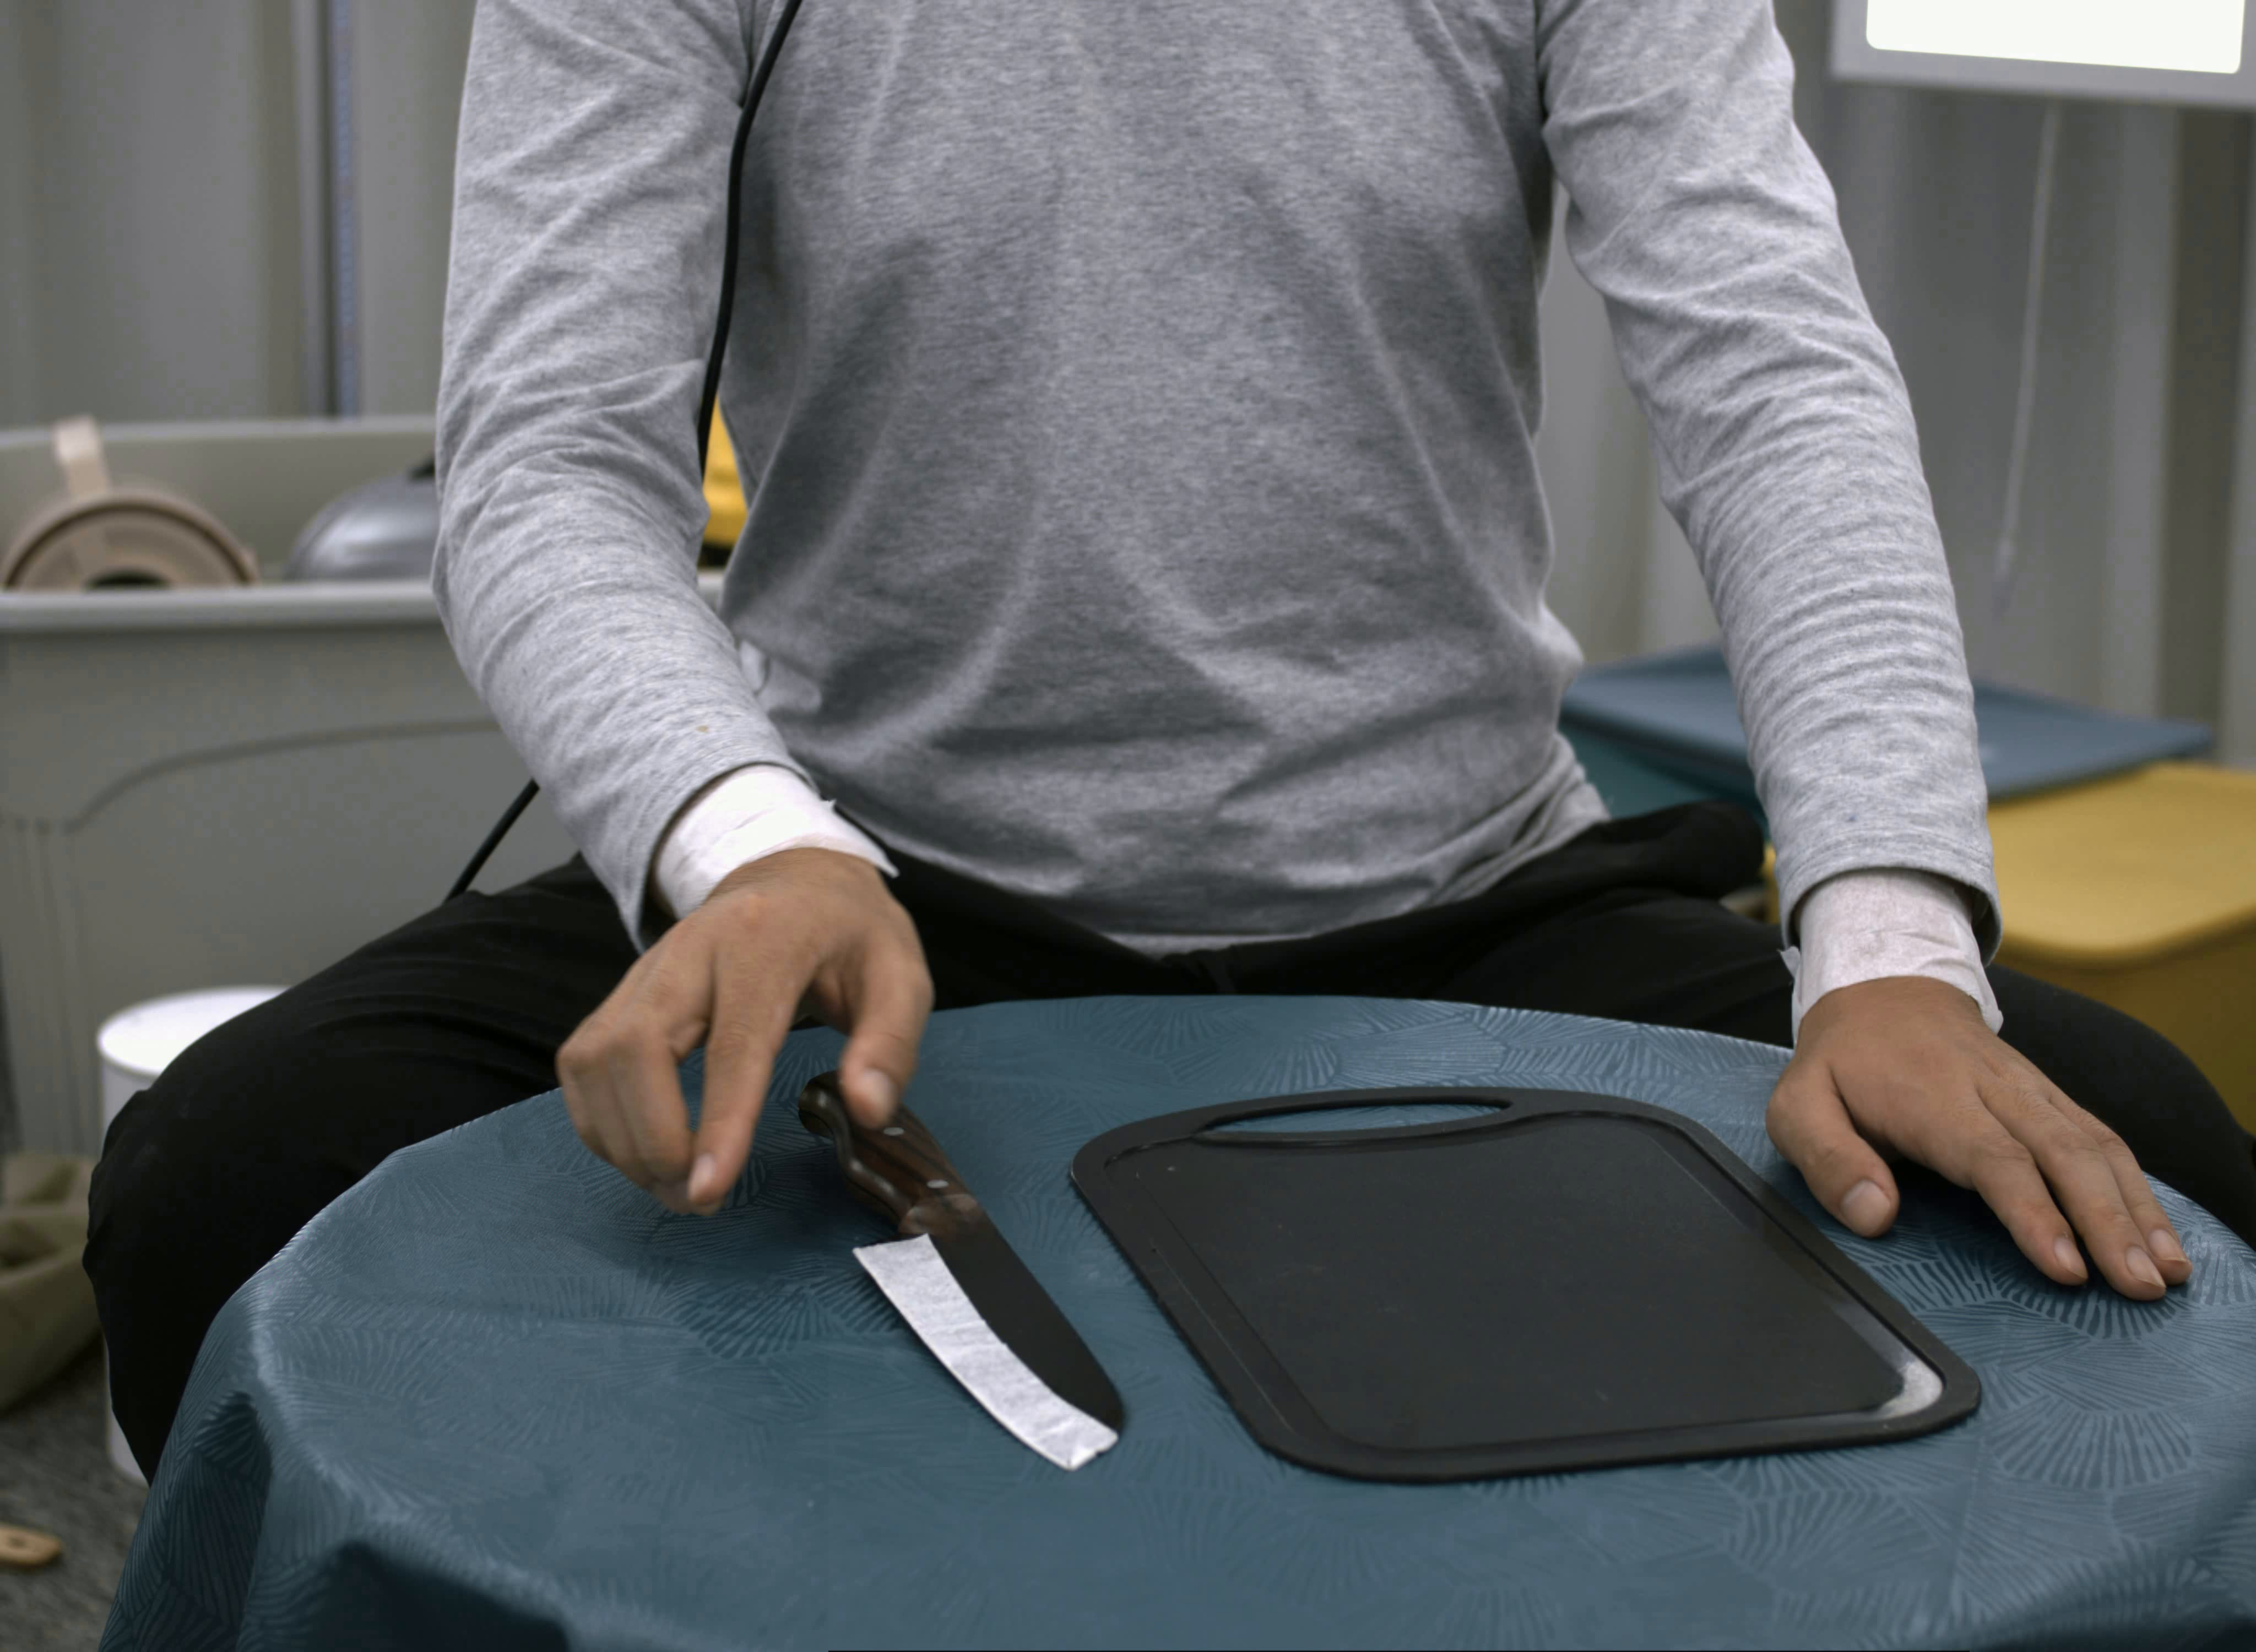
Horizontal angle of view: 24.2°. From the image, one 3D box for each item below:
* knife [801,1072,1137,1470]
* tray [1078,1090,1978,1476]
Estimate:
[{"bbox_3d":[-0.051,0.129,1.537,0.050,0.020,0.286,-8,20,-15],"label":"knife"},{"bbox_3d":[0.107,0.127,1.564,0.211,0.010,0.322,-3,15,-13],"label":"tray"}]
